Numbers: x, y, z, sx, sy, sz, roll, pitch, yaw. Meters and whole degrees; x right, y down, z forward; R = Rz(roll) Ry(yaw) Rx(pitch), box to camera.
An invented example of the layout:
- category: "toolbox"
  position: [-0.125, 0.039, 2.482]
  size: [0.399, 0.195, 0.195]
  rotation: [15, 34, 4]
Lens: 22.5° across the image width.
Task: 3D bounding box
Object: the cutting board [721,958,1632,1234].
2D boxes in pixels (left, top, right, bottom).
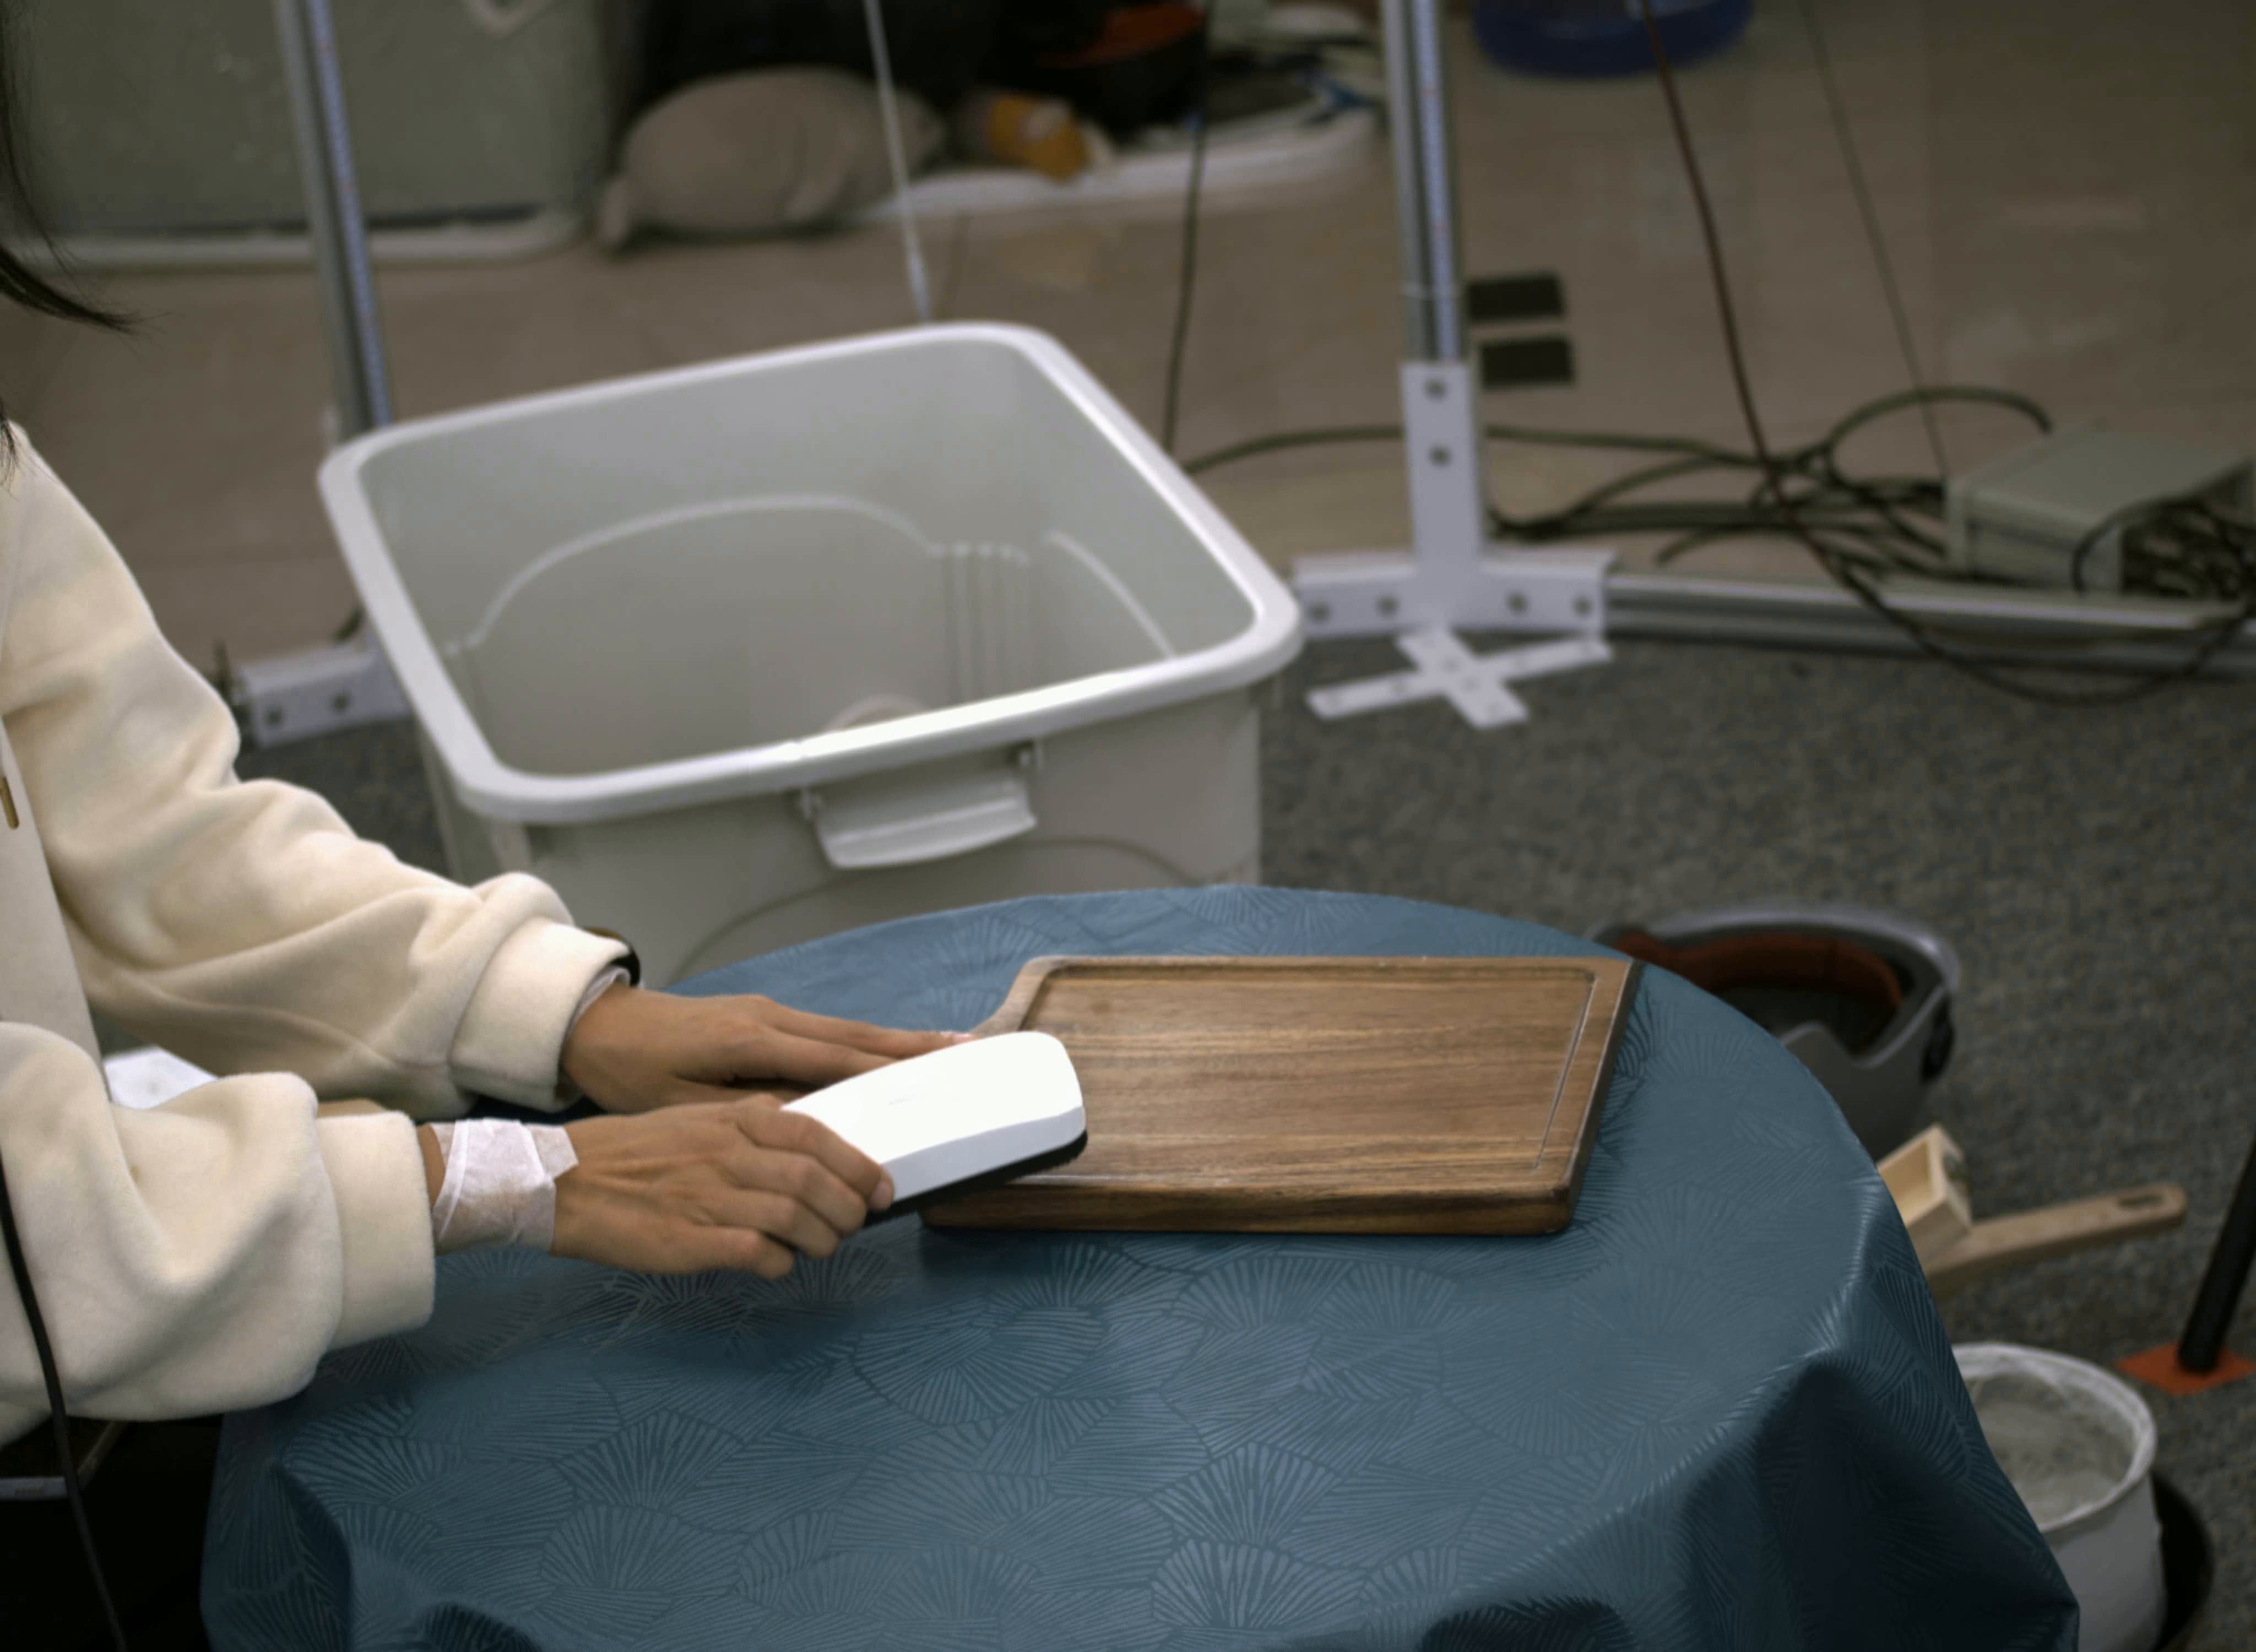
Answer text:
- category: "cutting board"
  position: [0.012, 0.102, 2.200]
  size: [0.351, 0.023, 0.198]
  rotation: [0, 25, 13]

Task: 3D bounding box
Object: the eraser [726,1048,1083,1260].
- category: "eraser"
  position: [-0.083, 0.118, 2.100]
  size: [0.131, 0.035, 0.062]
  rotation: [-16, 31, -3]
